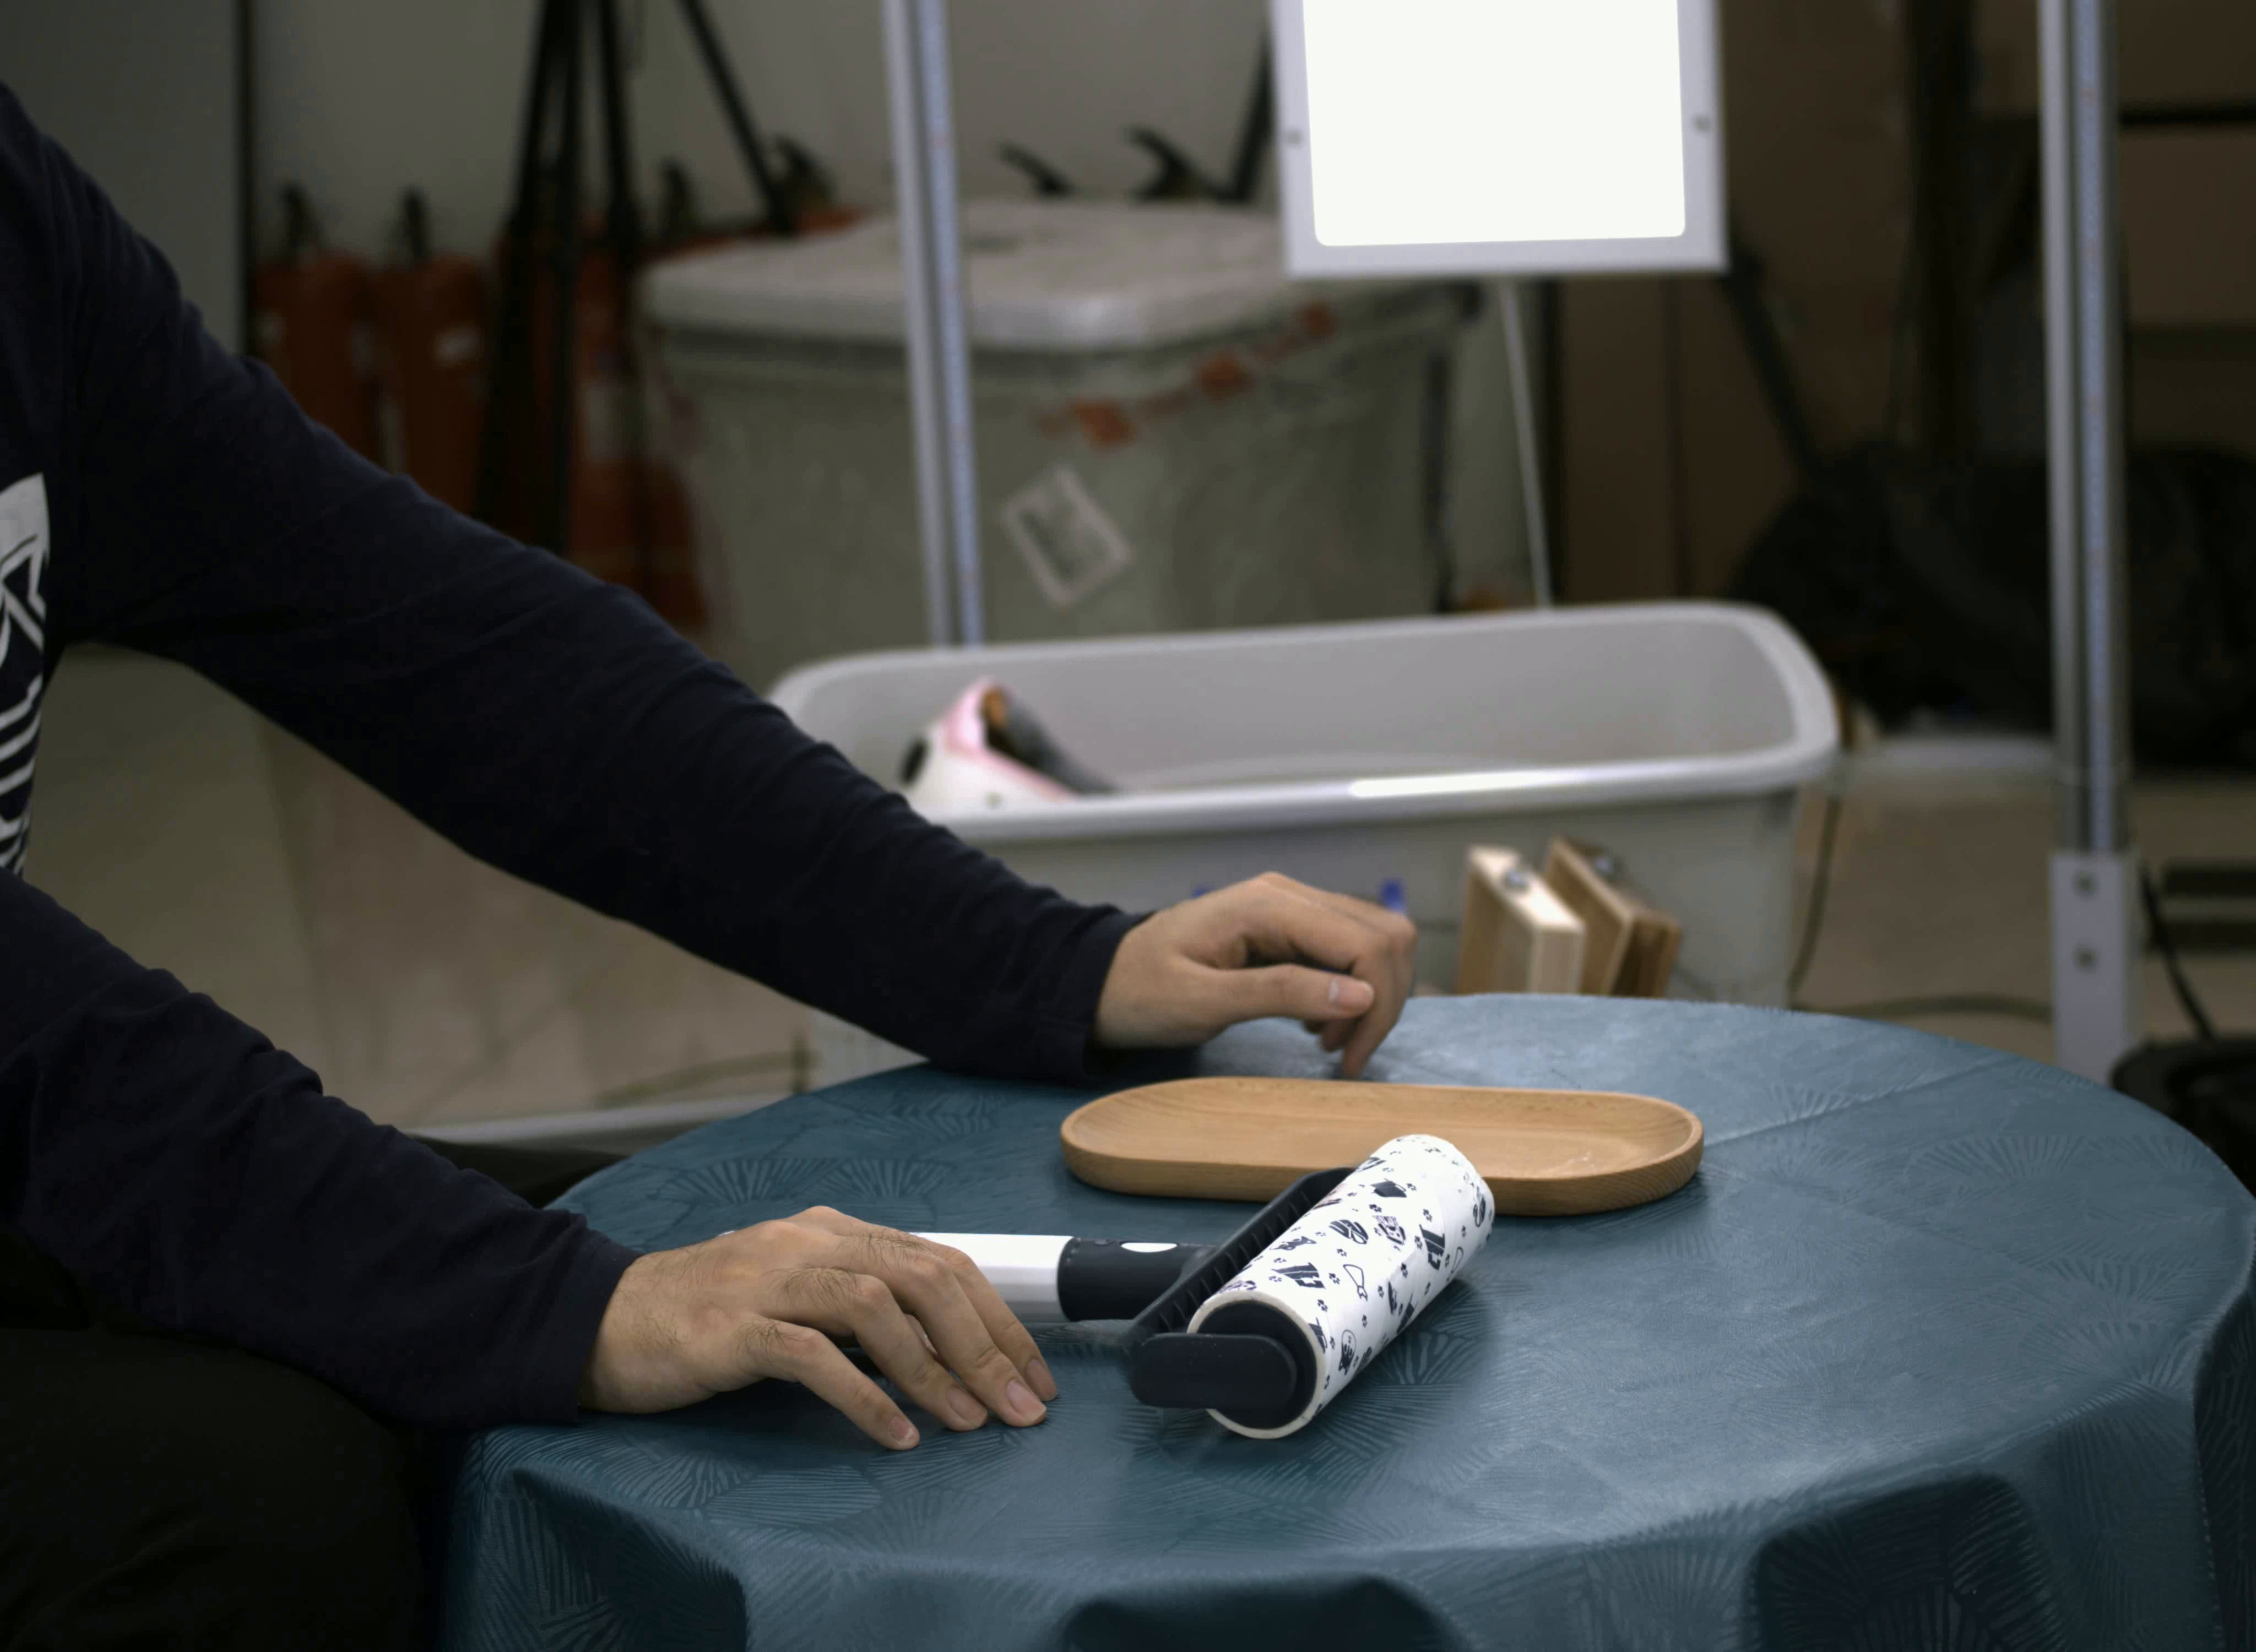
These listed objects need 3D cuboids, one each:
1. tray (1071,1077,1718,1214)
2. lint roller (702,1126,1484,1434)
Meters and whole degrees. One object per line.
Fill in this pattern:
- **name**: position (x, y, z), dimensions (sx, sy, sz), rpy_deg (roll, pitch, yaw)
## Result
- **tray**: position (0.091, 0.110, 1.903), dimensions (0.235, 0.020, 0.100), rpy_deg (2, 17, 24)
- **lint roller**: position (-0.026, 0.145, 1.757), dimensions (0.251, 0.050, 0.173), rpy_deg (-3, 14, 24)
